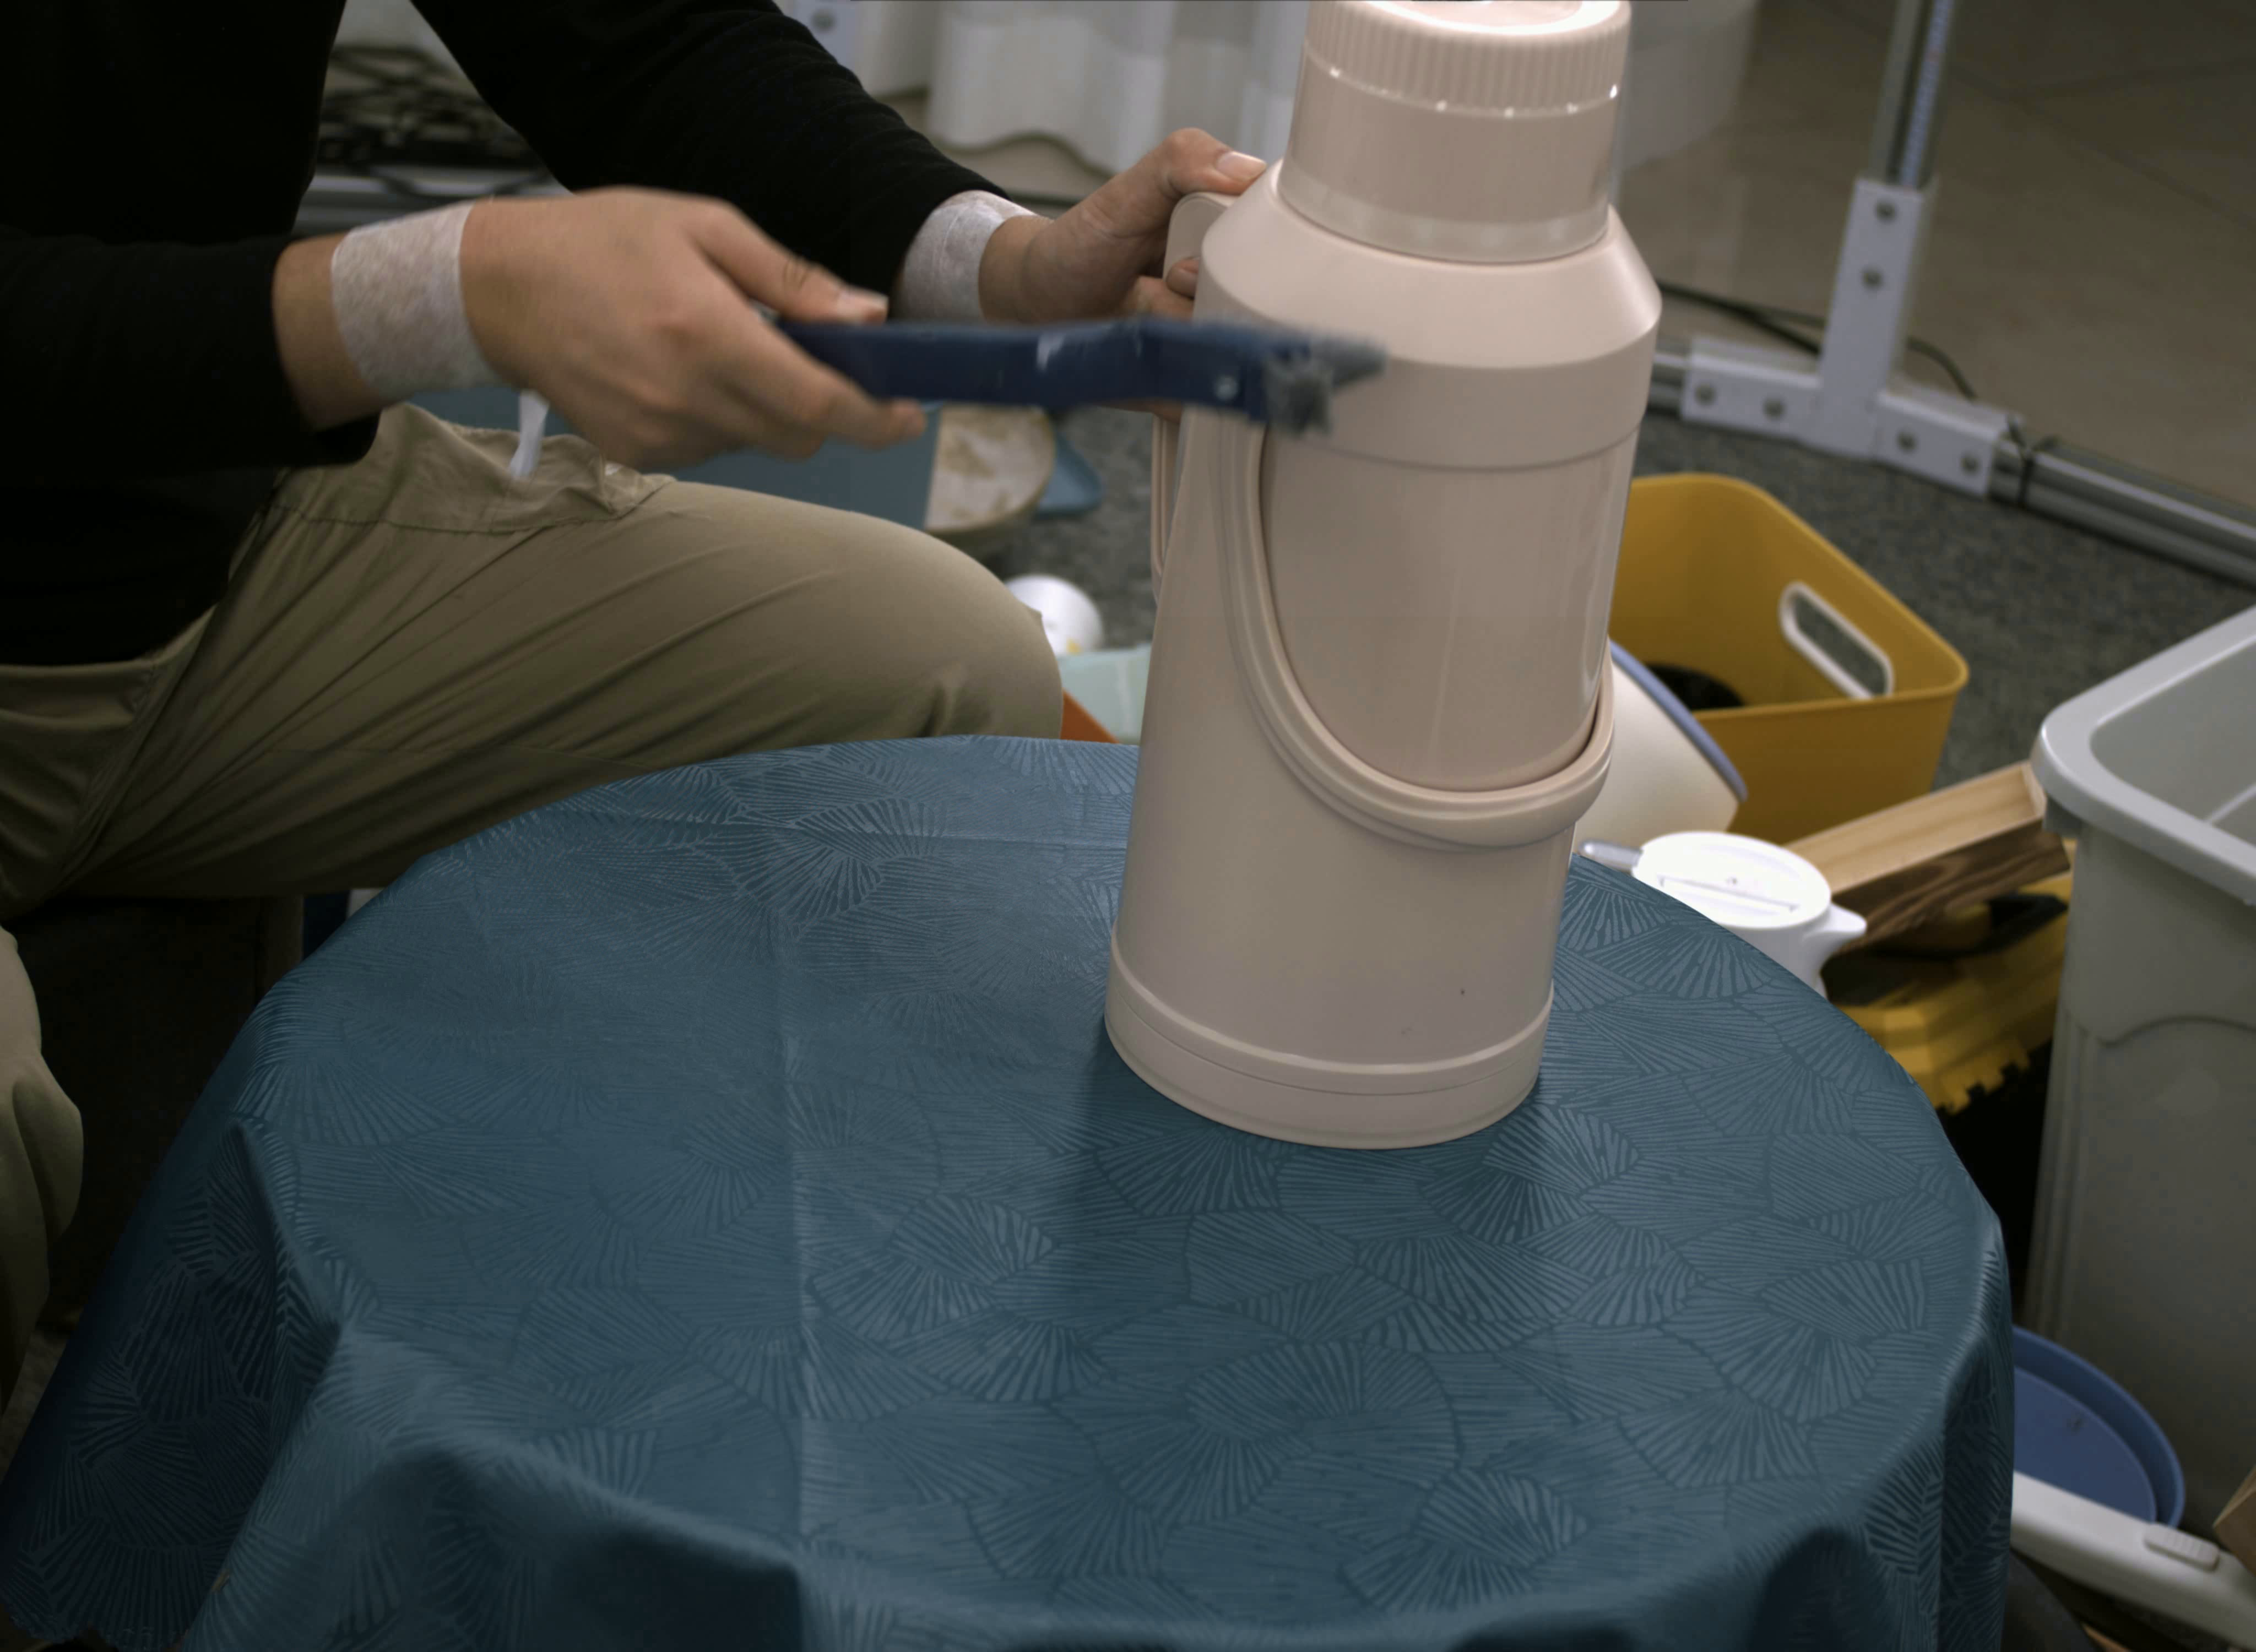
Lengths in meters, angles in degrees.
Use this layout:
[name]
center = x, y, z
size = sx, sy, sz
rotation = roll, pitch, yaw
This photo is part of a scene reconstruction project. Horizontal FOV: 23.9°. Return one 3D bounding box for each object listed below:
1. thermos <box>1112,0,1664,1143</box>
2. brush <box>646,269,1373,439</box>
[thermos]
center = 0.084, -0.107, 1.836
size = 0.174, 0.405, 0.209
rotation = -18, 36, -38
[brush]
center = -0.051, -0.153, 1.707
size = 0.274, 0.033, 0.095
rotation = 4, 22, 27
